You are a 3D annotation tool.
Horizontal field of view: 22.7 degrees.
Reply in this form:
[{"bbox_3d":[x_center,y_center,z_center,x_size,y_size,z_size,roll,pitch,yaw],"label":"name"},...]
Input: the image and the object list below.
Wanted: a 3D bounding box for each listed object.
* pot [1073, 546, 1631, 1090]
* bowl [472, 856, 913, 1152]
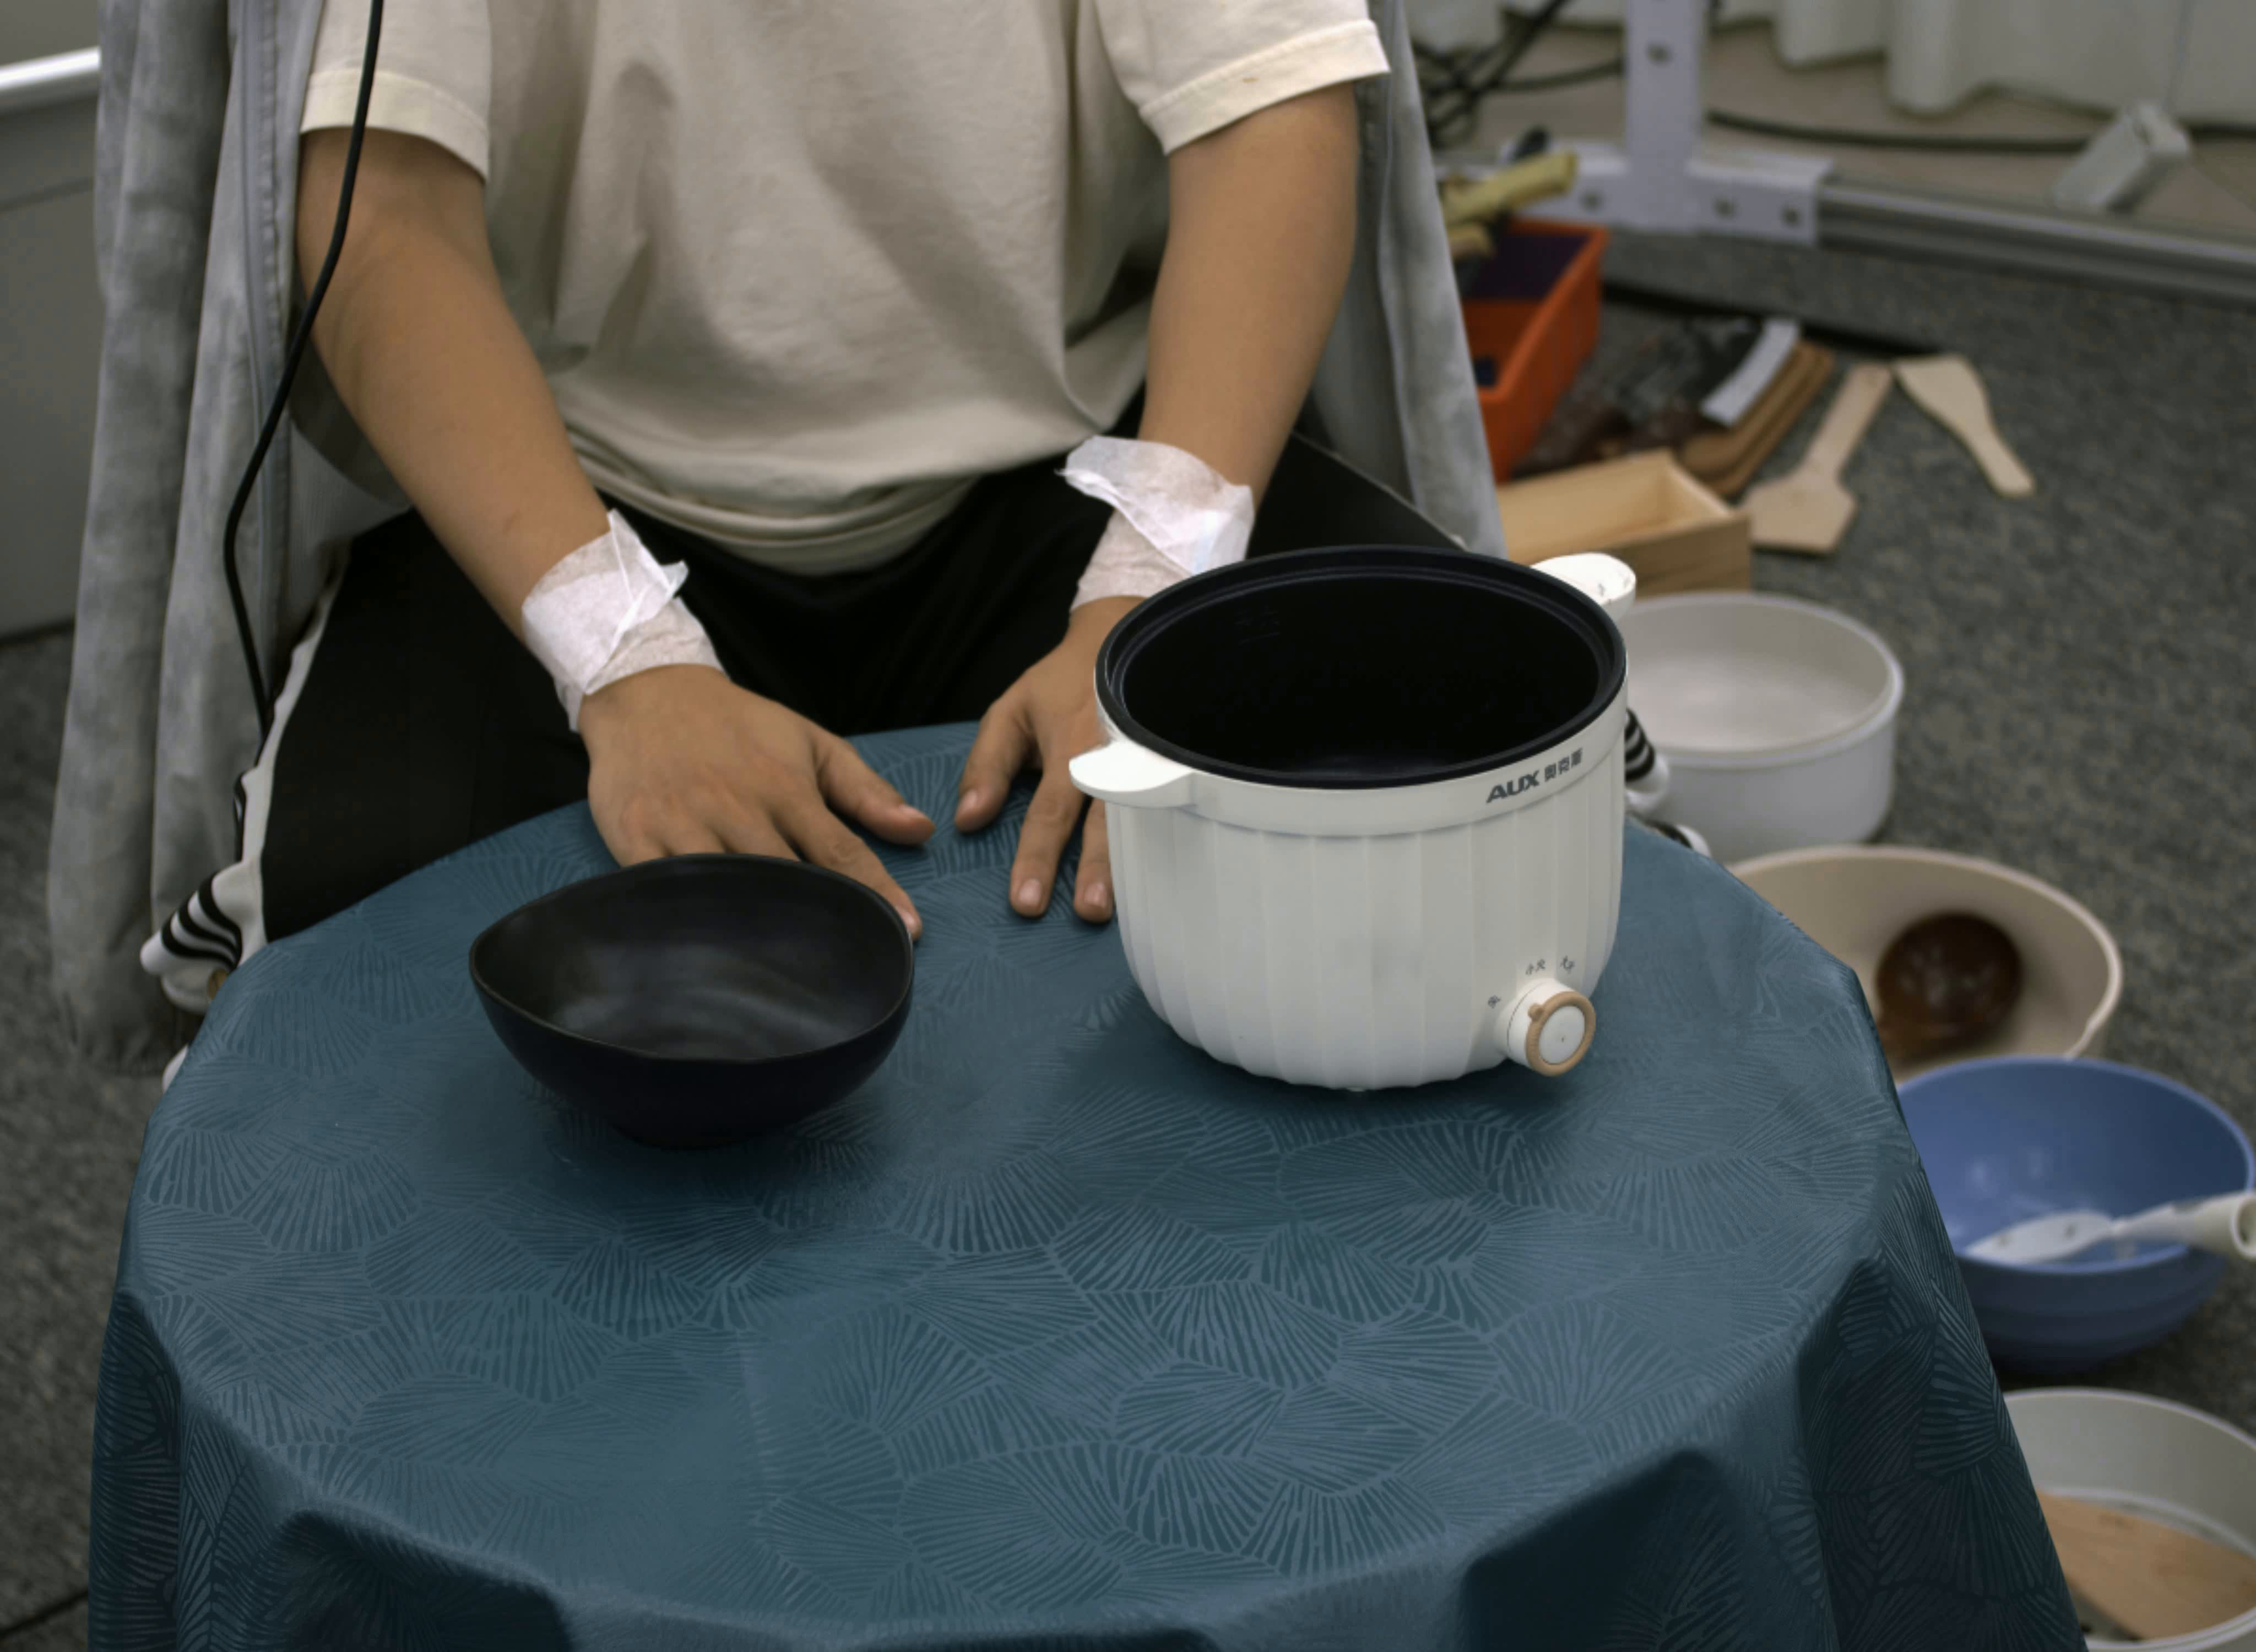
[{"bbox_3d":[0.087,0.002,1.934,0.243,0.141,0.190,-23,30,-33],"label":"pot"},{"bbox_3d":[-0.148,0.068,1.909,0.170,0.066,0.139,19,33,37],"label":"bowl"}]
